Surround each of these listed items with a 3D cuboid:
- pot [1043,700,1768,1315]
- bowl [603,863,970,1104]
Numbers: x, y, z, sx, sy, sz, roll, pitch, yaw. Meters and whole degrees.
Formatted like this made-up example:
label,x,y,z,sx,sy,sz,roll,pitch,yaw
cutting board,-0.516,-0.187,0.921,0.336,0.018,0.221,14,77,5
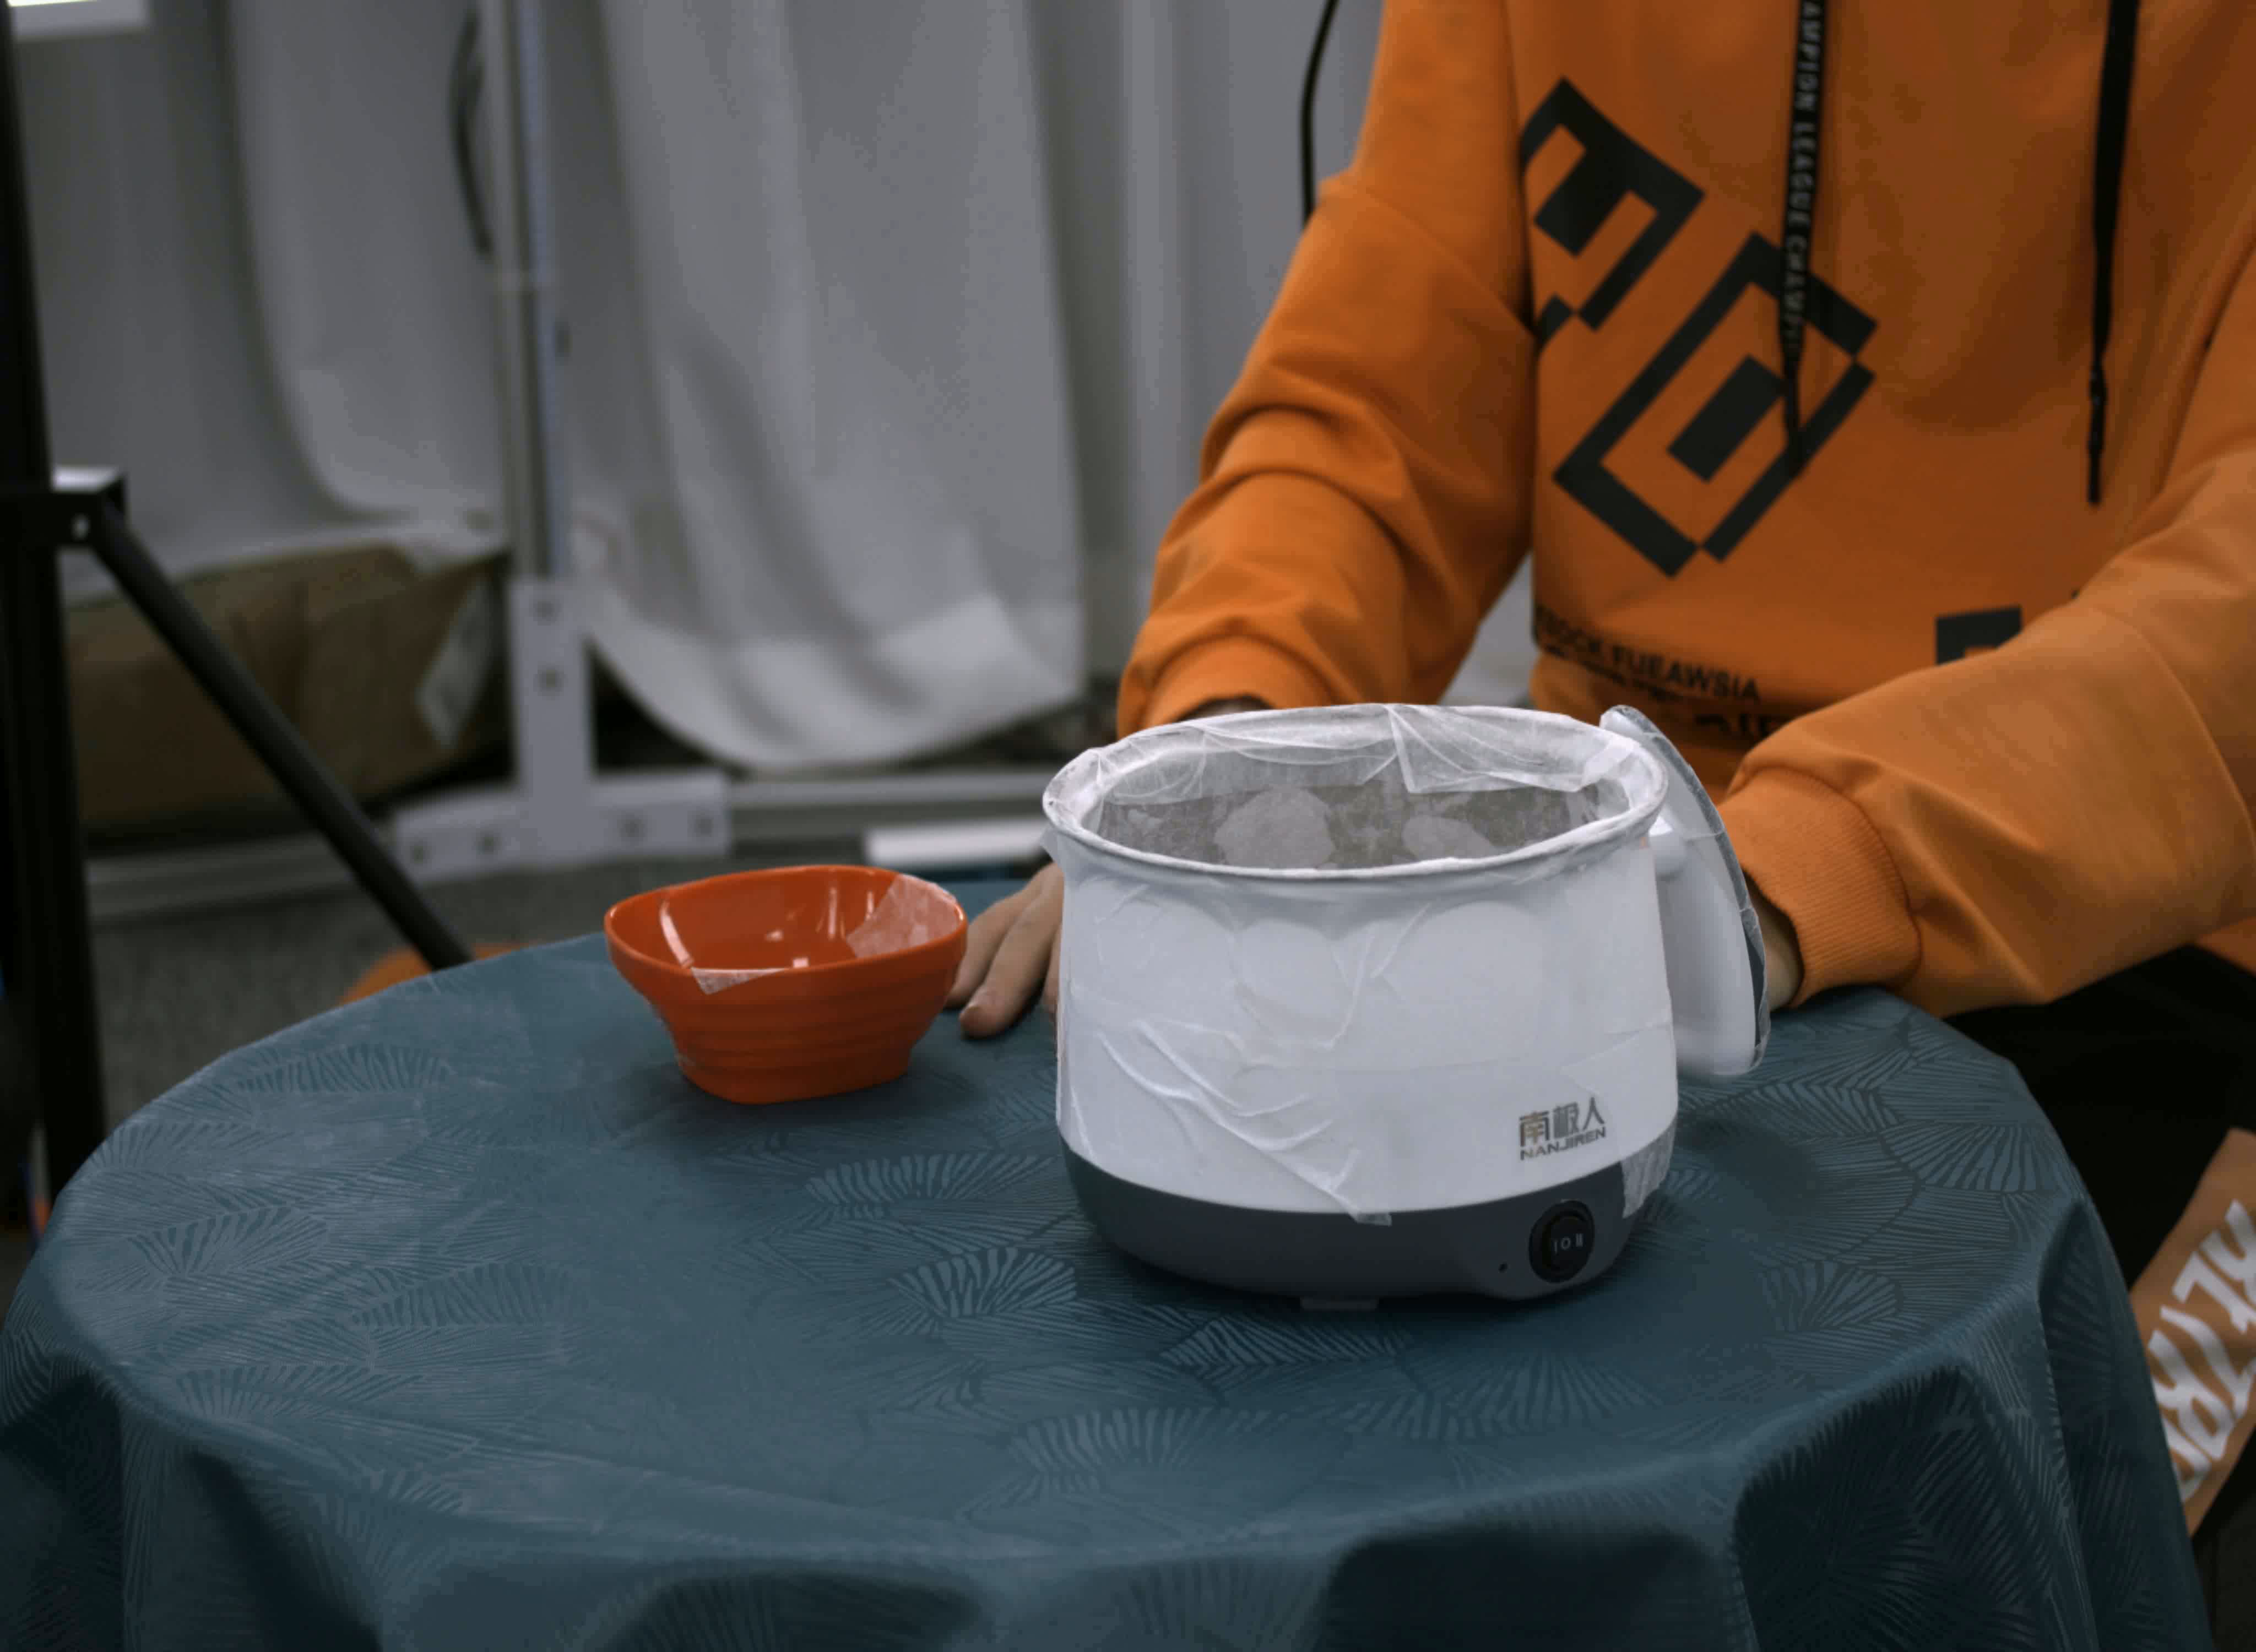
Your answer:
label,x,y,z,sx,sy,sz,roll,pitch,yaw
pot,0.088,0.044,1.517,0.228,0.136,0.183,-14,19,-34
bowl,-0.106,0.052,1.680,0.118,0.051,0.119,-4,15,0
